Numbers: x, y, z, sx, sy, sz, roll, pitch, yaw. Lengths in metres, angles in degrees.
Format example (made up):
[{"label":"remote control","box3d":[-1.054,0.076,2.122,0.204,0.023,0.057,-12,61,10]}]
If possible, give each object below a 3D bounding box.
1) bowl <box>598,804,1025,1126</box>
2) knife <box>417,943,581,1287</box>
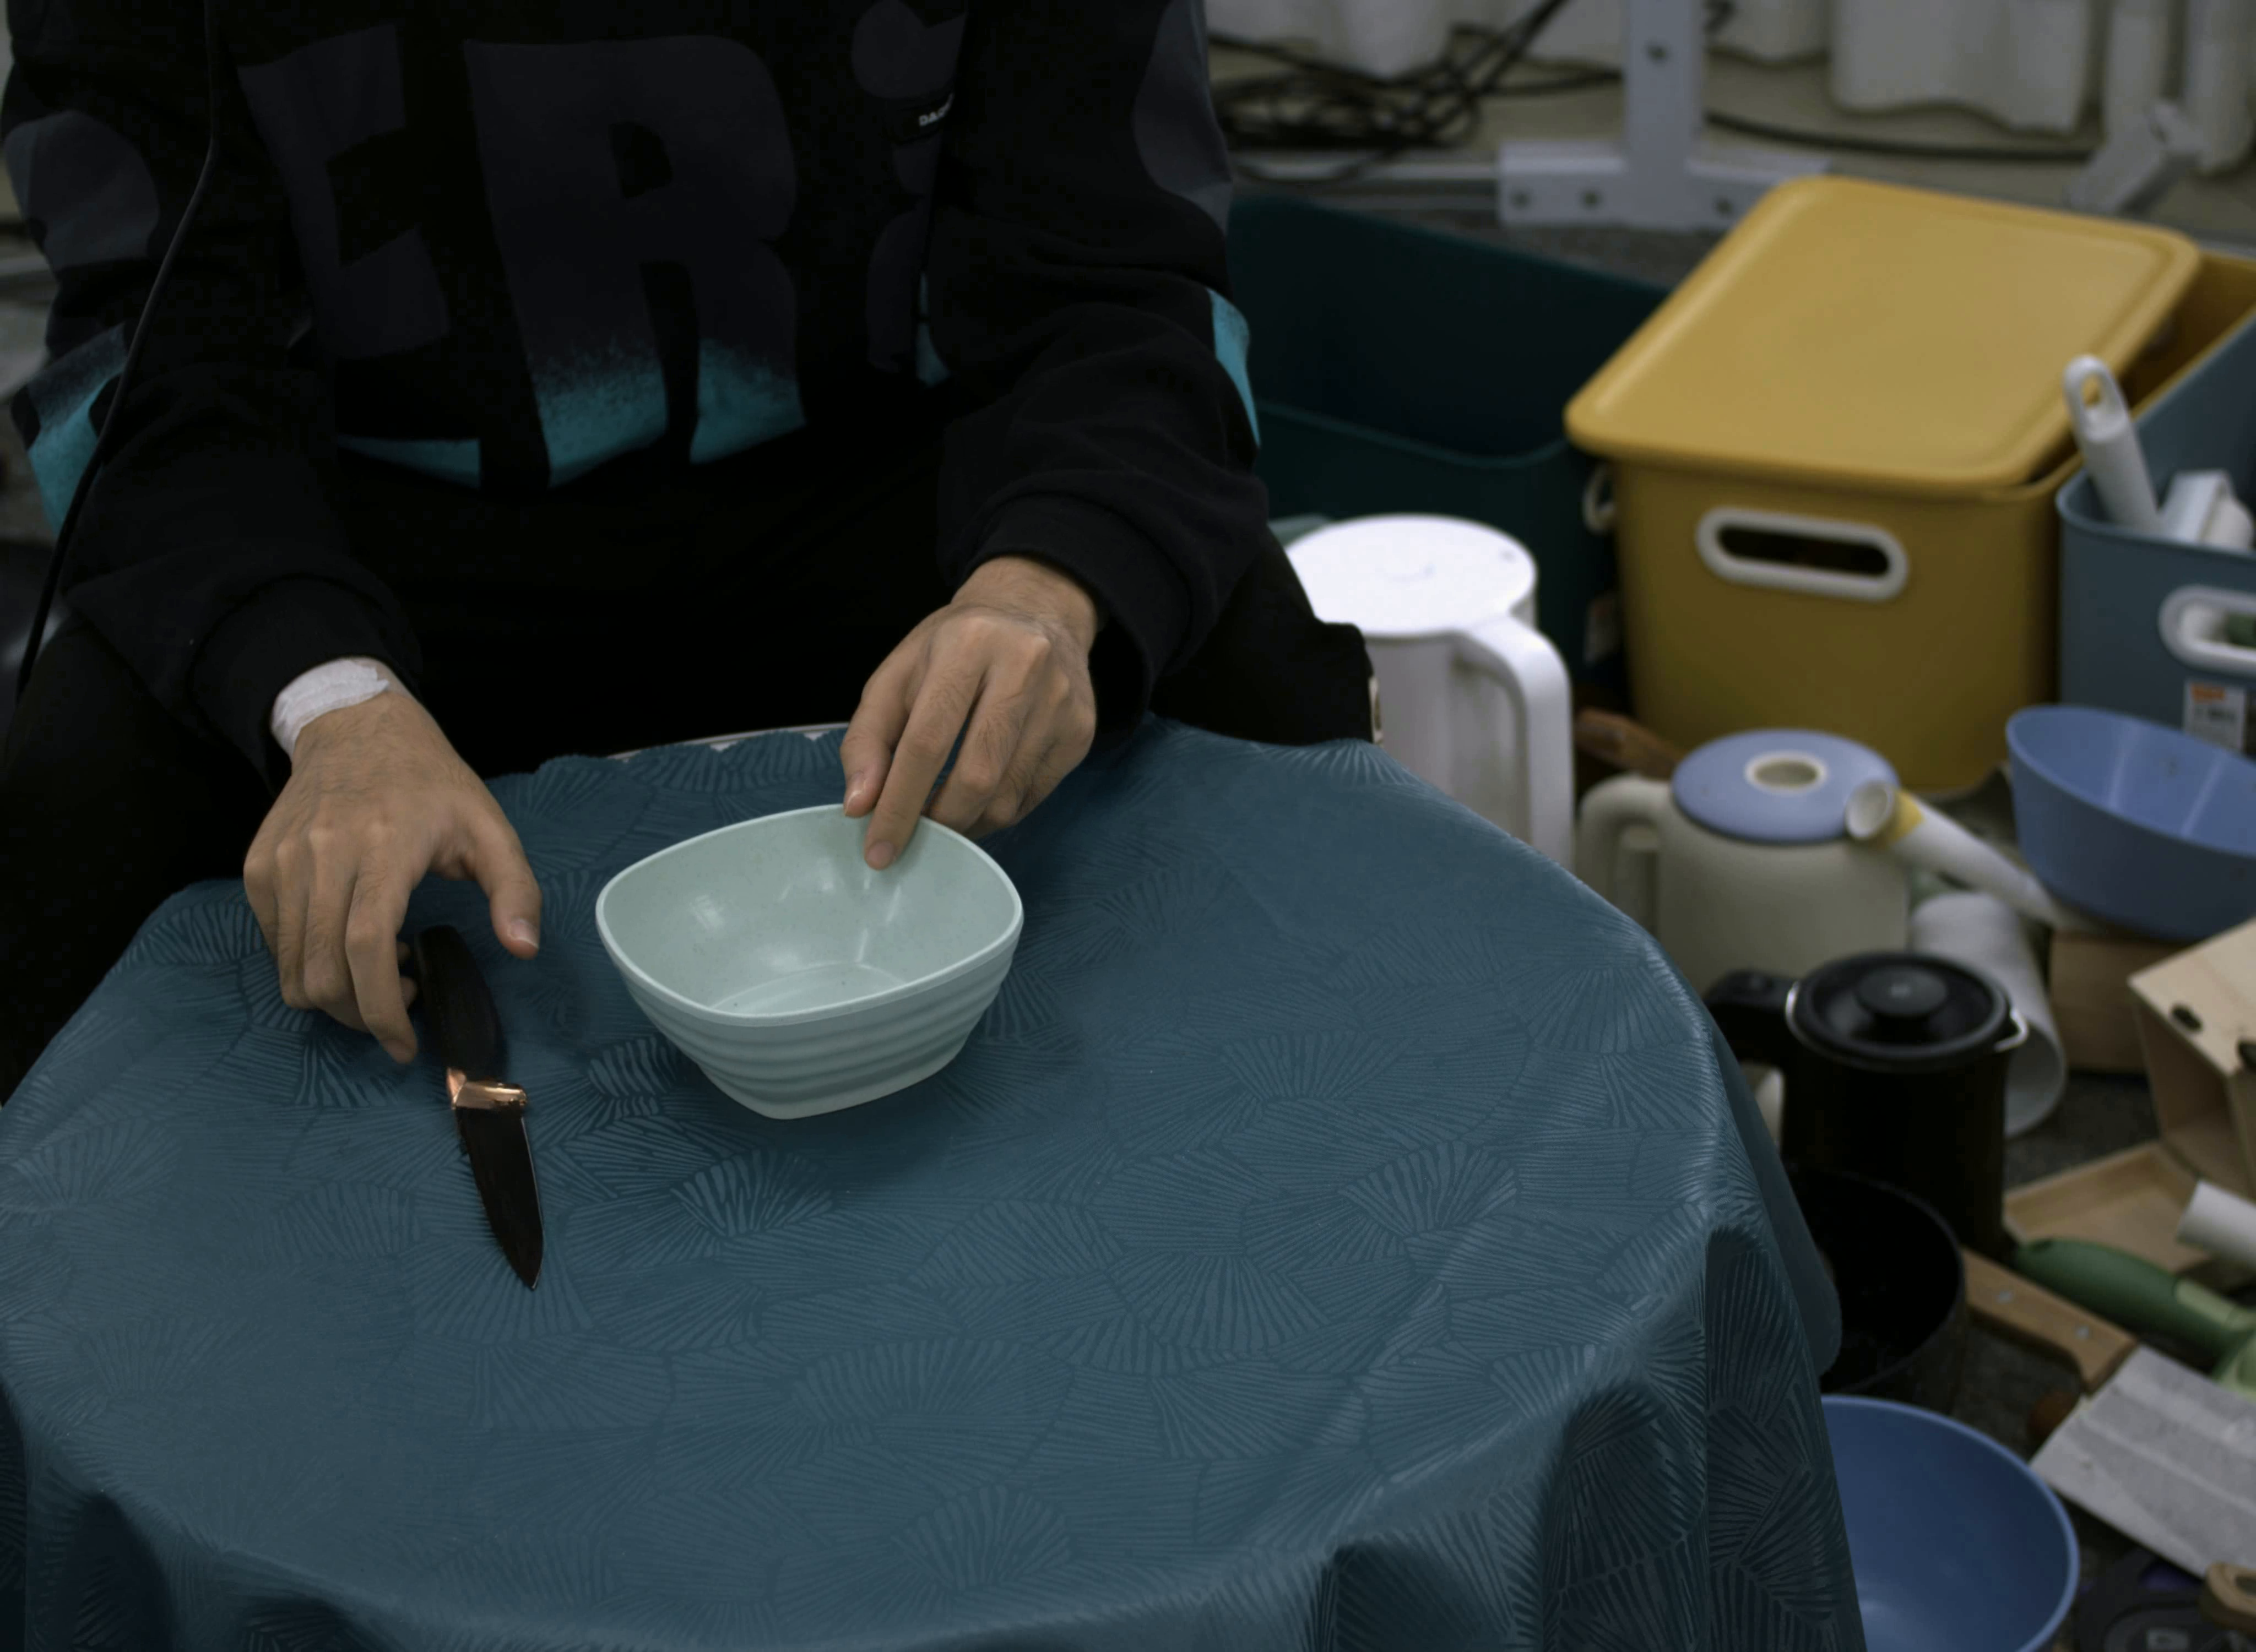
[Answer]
[{"label":"bowl","box3d":[-0.107,0.054,1.943,0.150,0.058,0.154,-3,28,2]},{"label":"knife","box3d":[-0.216,0.098,1.917,0.026,0.017,0.228,-4,28,-16]}]
